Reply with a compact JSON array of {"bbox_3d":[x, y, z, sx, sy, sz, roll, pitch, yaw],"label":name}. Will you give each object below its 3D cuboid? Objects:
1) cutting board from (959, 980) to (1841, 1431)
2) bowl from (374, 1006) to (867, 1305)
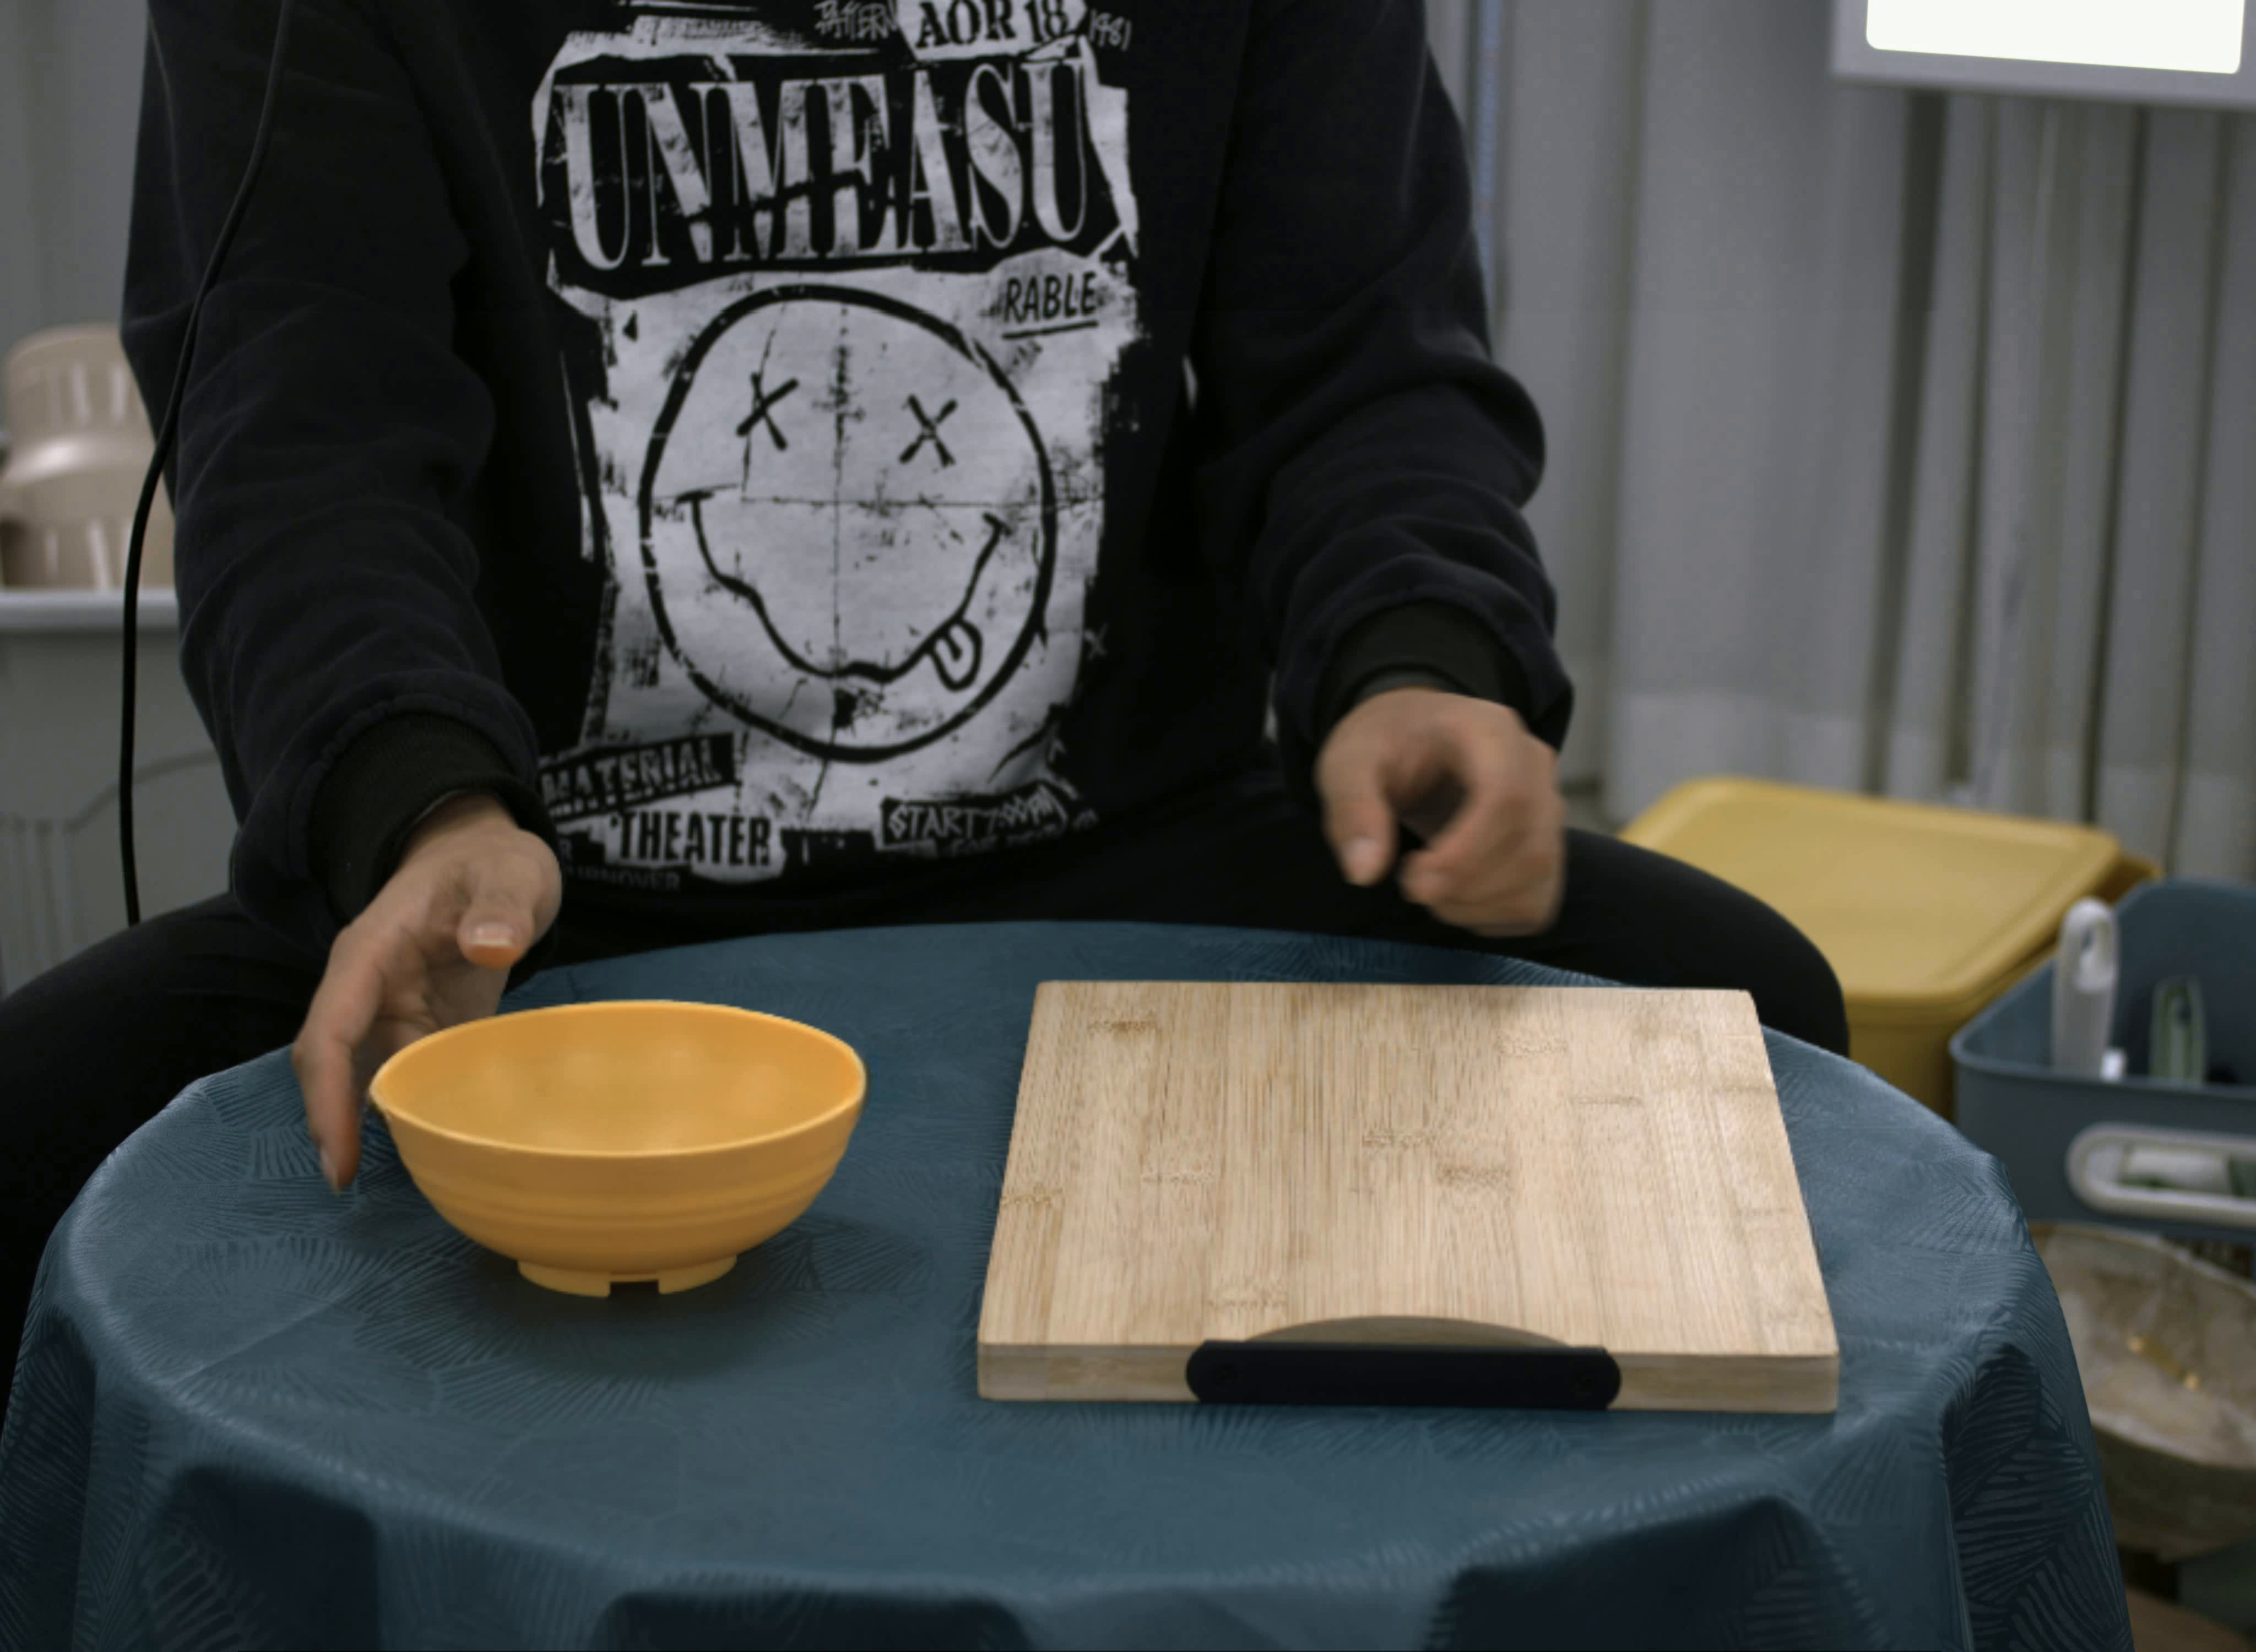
[{"bbox_3d":[0.082,0.110,1.610,0.250,0.024,0.347,1,16,1],"label":"cutting board"},{"bbox_3d":[-0.150,0.102,1.554,0.145,0.060,0.144,4,15,-1],"label":"bowl"}]
